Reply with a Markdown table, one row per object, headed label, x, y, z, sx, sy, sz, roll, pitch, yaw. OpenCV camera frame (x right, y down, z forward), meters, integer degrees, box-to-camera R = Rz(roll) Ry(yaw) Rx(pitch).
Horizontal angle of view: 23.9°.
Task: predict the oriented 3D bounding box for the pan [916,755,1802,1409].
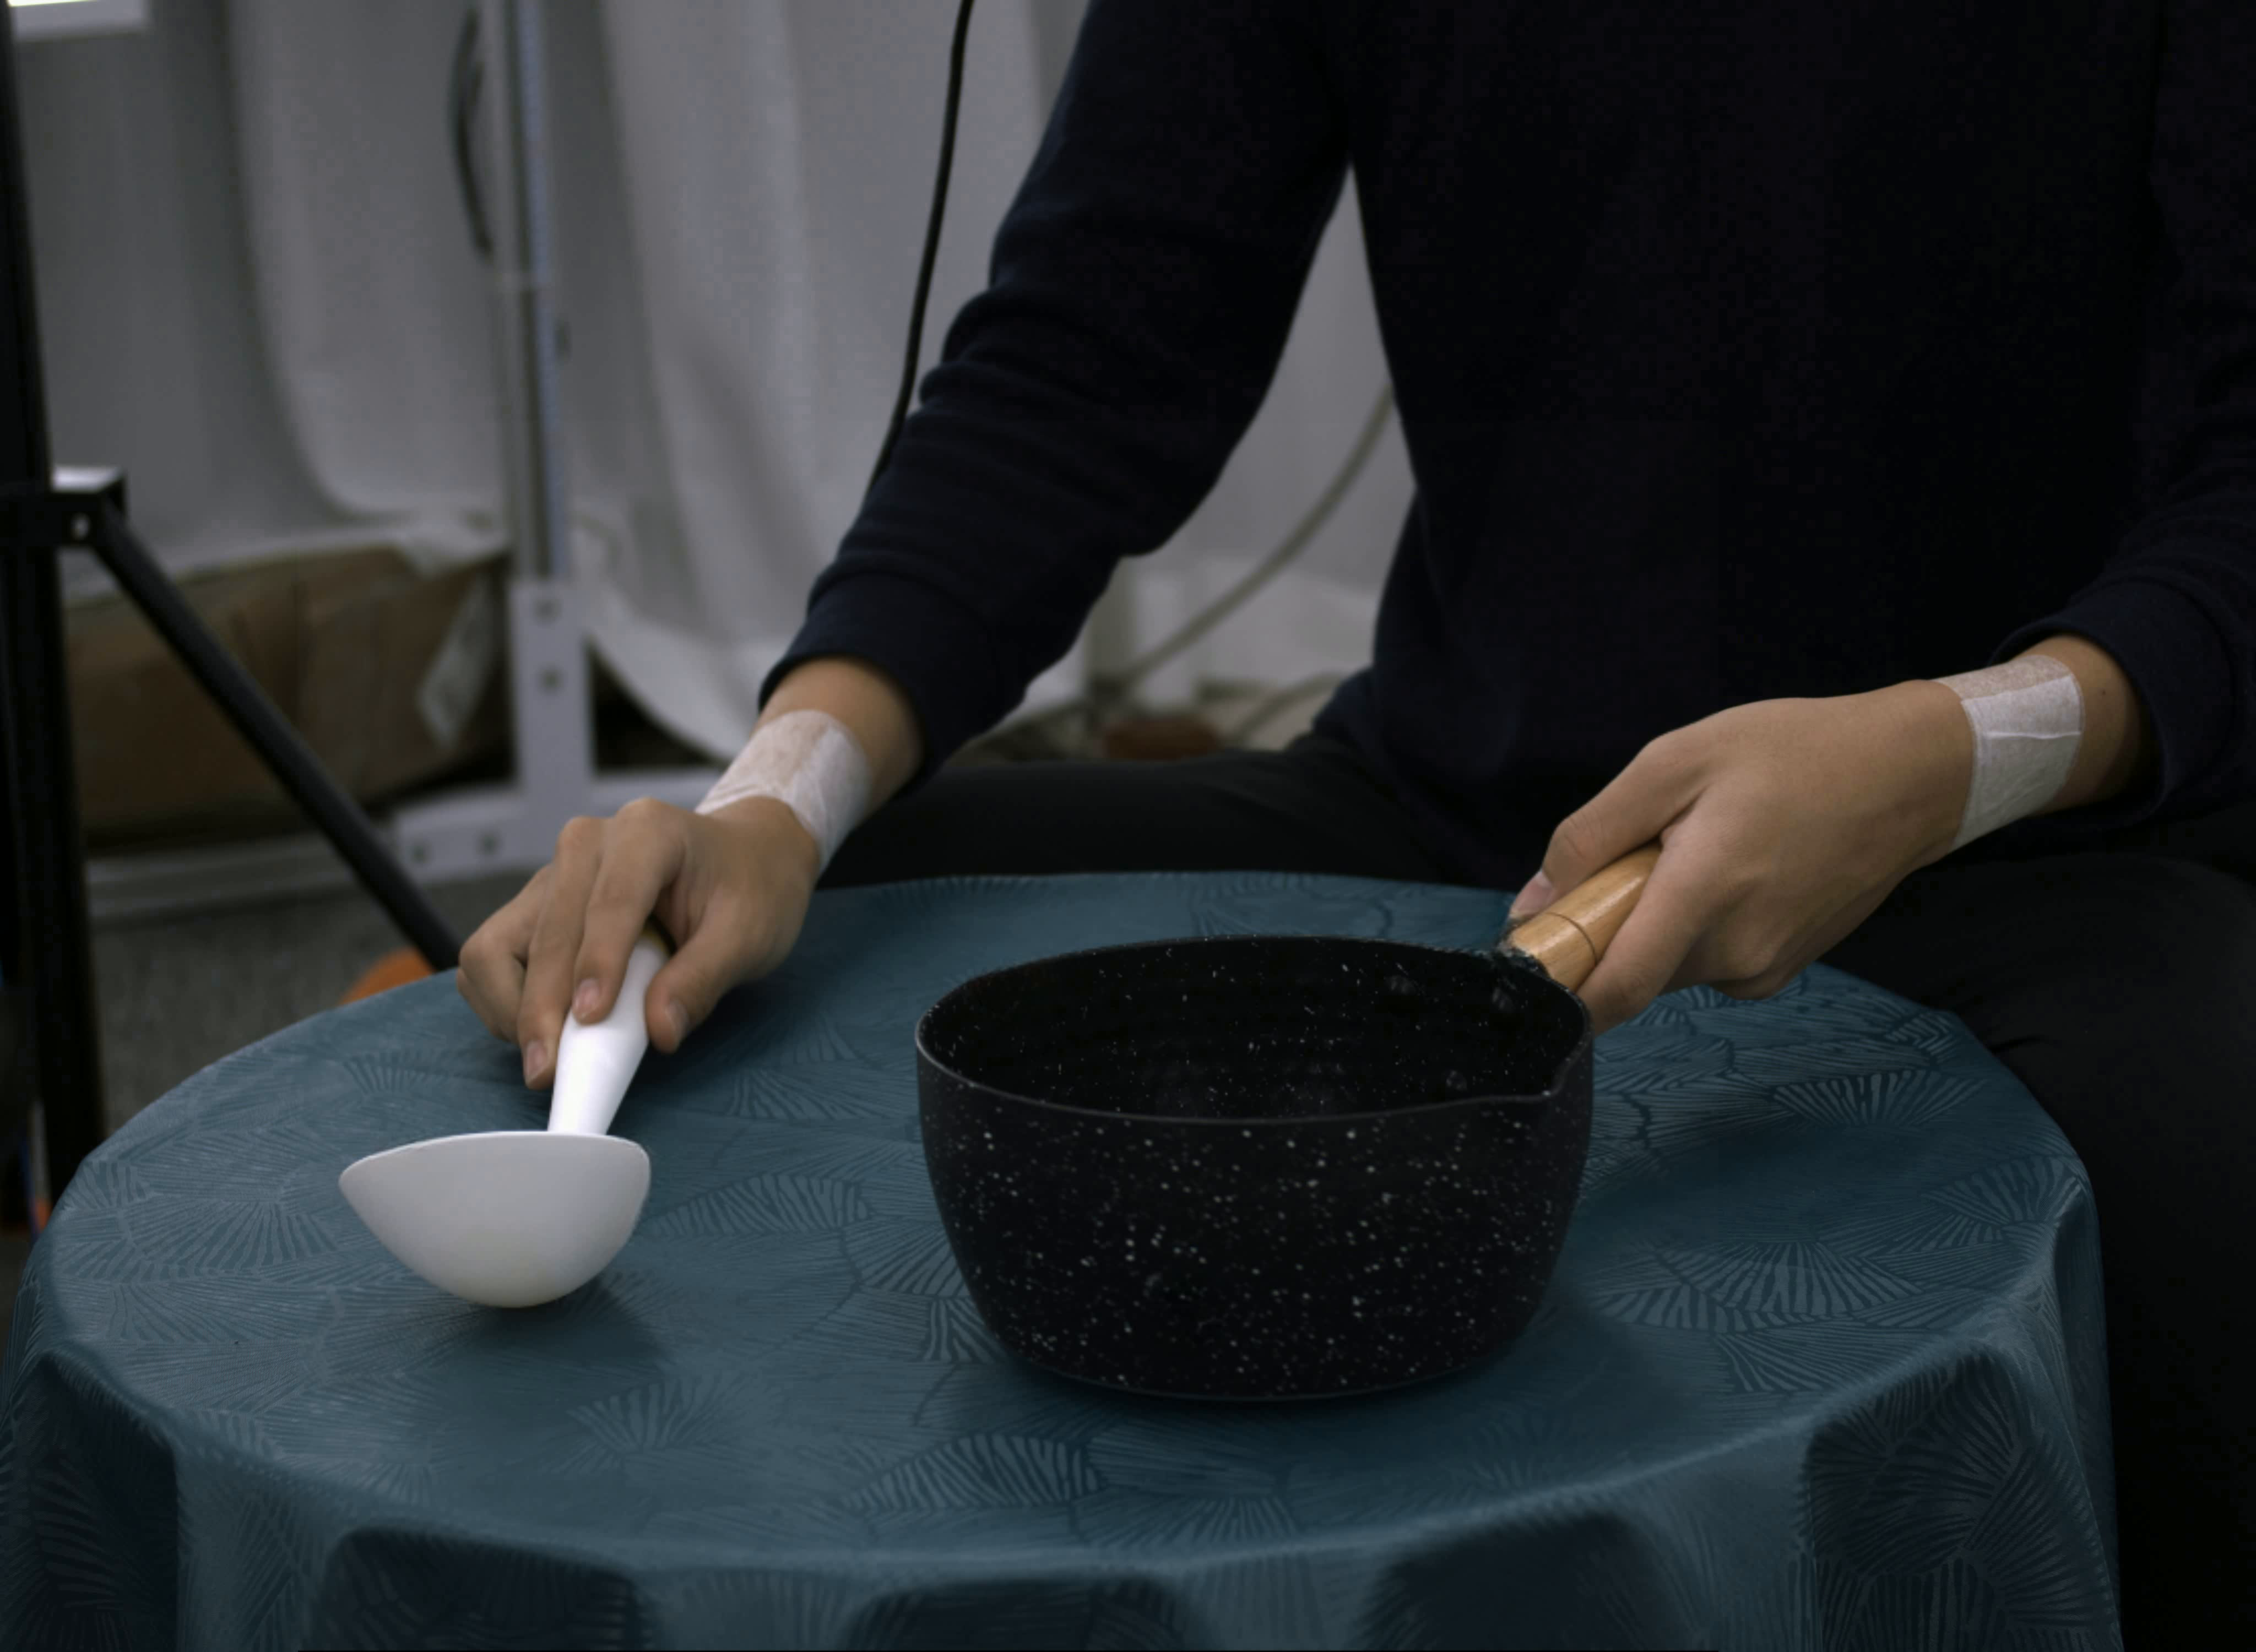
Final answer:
| label | x | y | z | sx | sy | sz | roll | pitch | yaw |
| --- | --- | --- | --- | --- | --- | --- | --- | --- | --- |
| pan | 0.086 | 0.067 | 1.494 | 0.212 | 0.108 | 0.335 | 9 | 19 | 39 |

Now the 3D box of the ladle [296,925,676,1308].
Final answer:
| label | x | y | z | sx | sy | sz | roll | pitch | yaw |
| --- | --- | --- | --- | --- | --- | --- | --- | --- | --- |
| ladle | -0.176 | 0.072 | 1.590 | 0.090 | 0.070 | 0.293 | -15 | 16 | 8 |
